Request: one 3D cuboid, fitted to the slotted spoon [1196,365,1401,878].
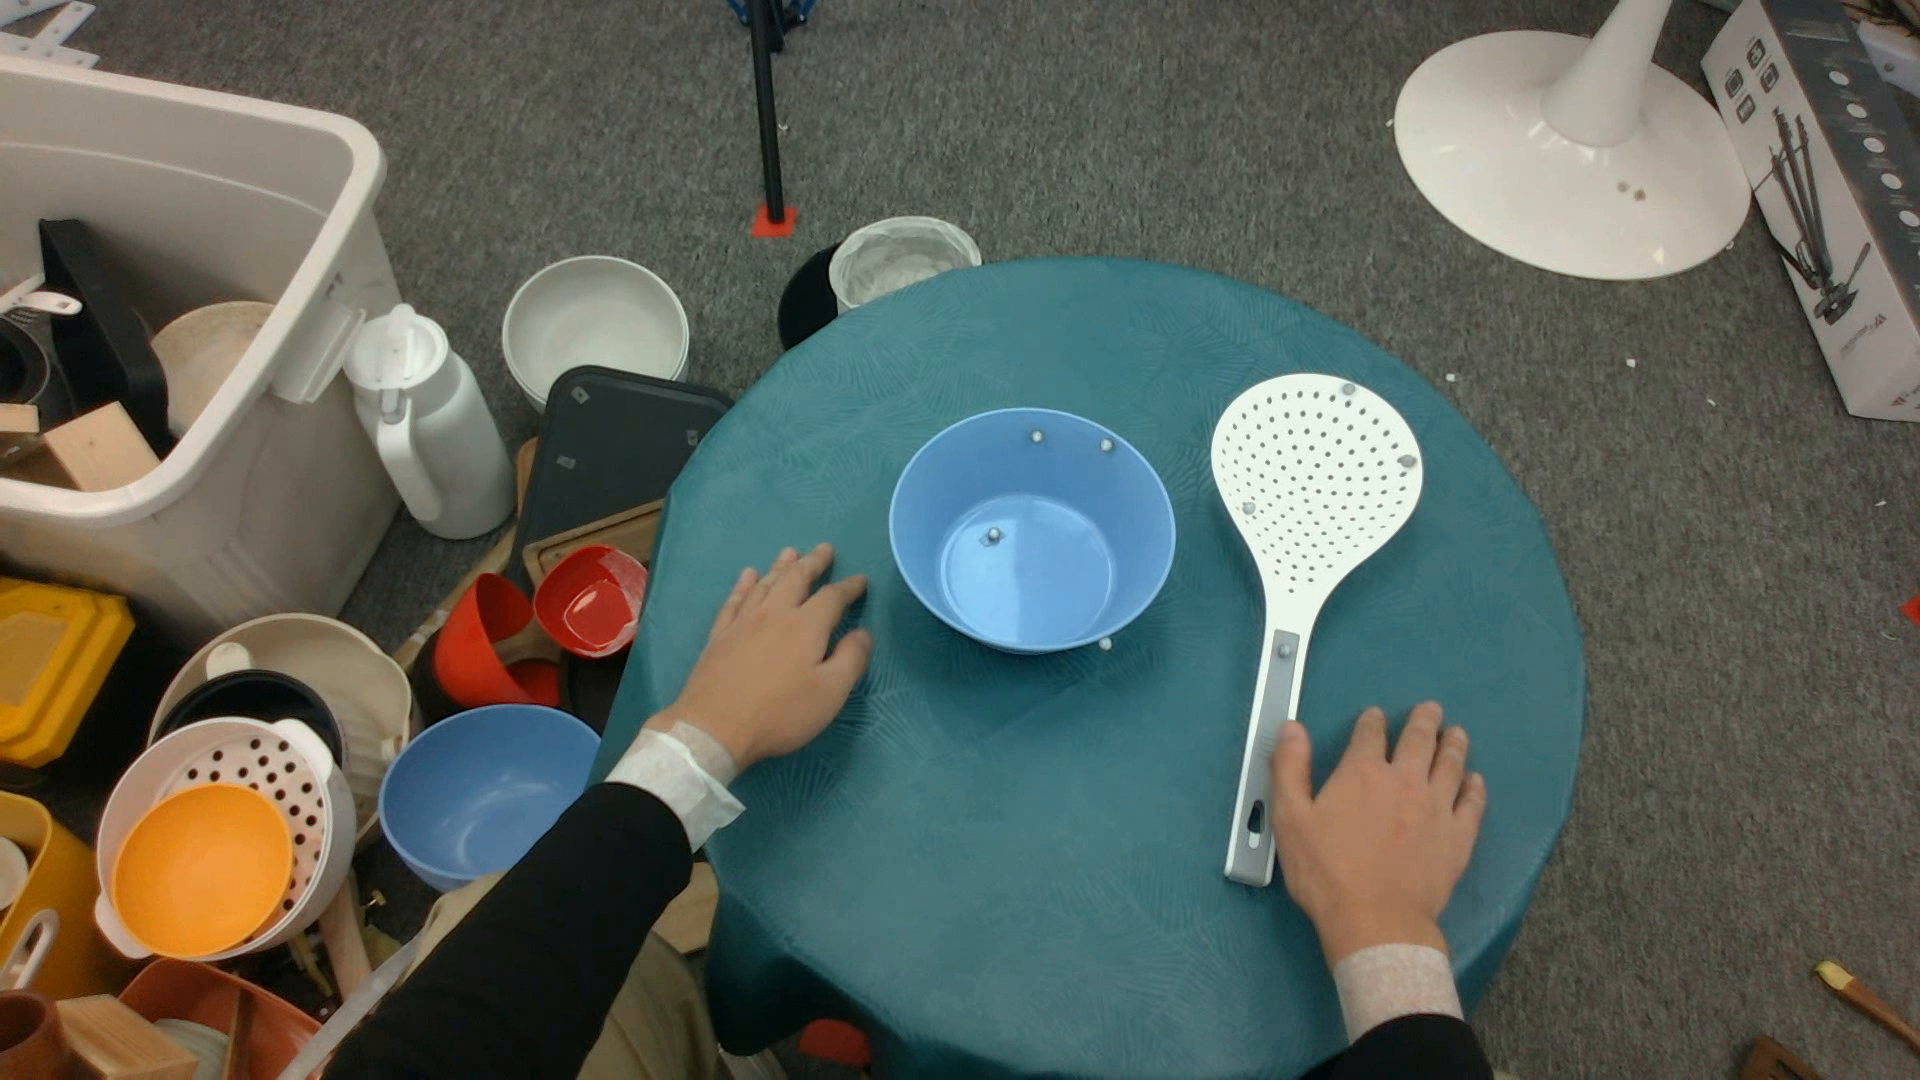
[{"bbox_3d":[0.197,0.040,0.867,0.136,0.045,0.351,13,60,5],"label":"slotted spoon"}]

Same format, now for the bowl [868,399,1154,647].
[{"bbox_3d":[0.030,0.000,0.866,0.176,0.070,0.177,1,59,-2],"label":"bowl"}]
